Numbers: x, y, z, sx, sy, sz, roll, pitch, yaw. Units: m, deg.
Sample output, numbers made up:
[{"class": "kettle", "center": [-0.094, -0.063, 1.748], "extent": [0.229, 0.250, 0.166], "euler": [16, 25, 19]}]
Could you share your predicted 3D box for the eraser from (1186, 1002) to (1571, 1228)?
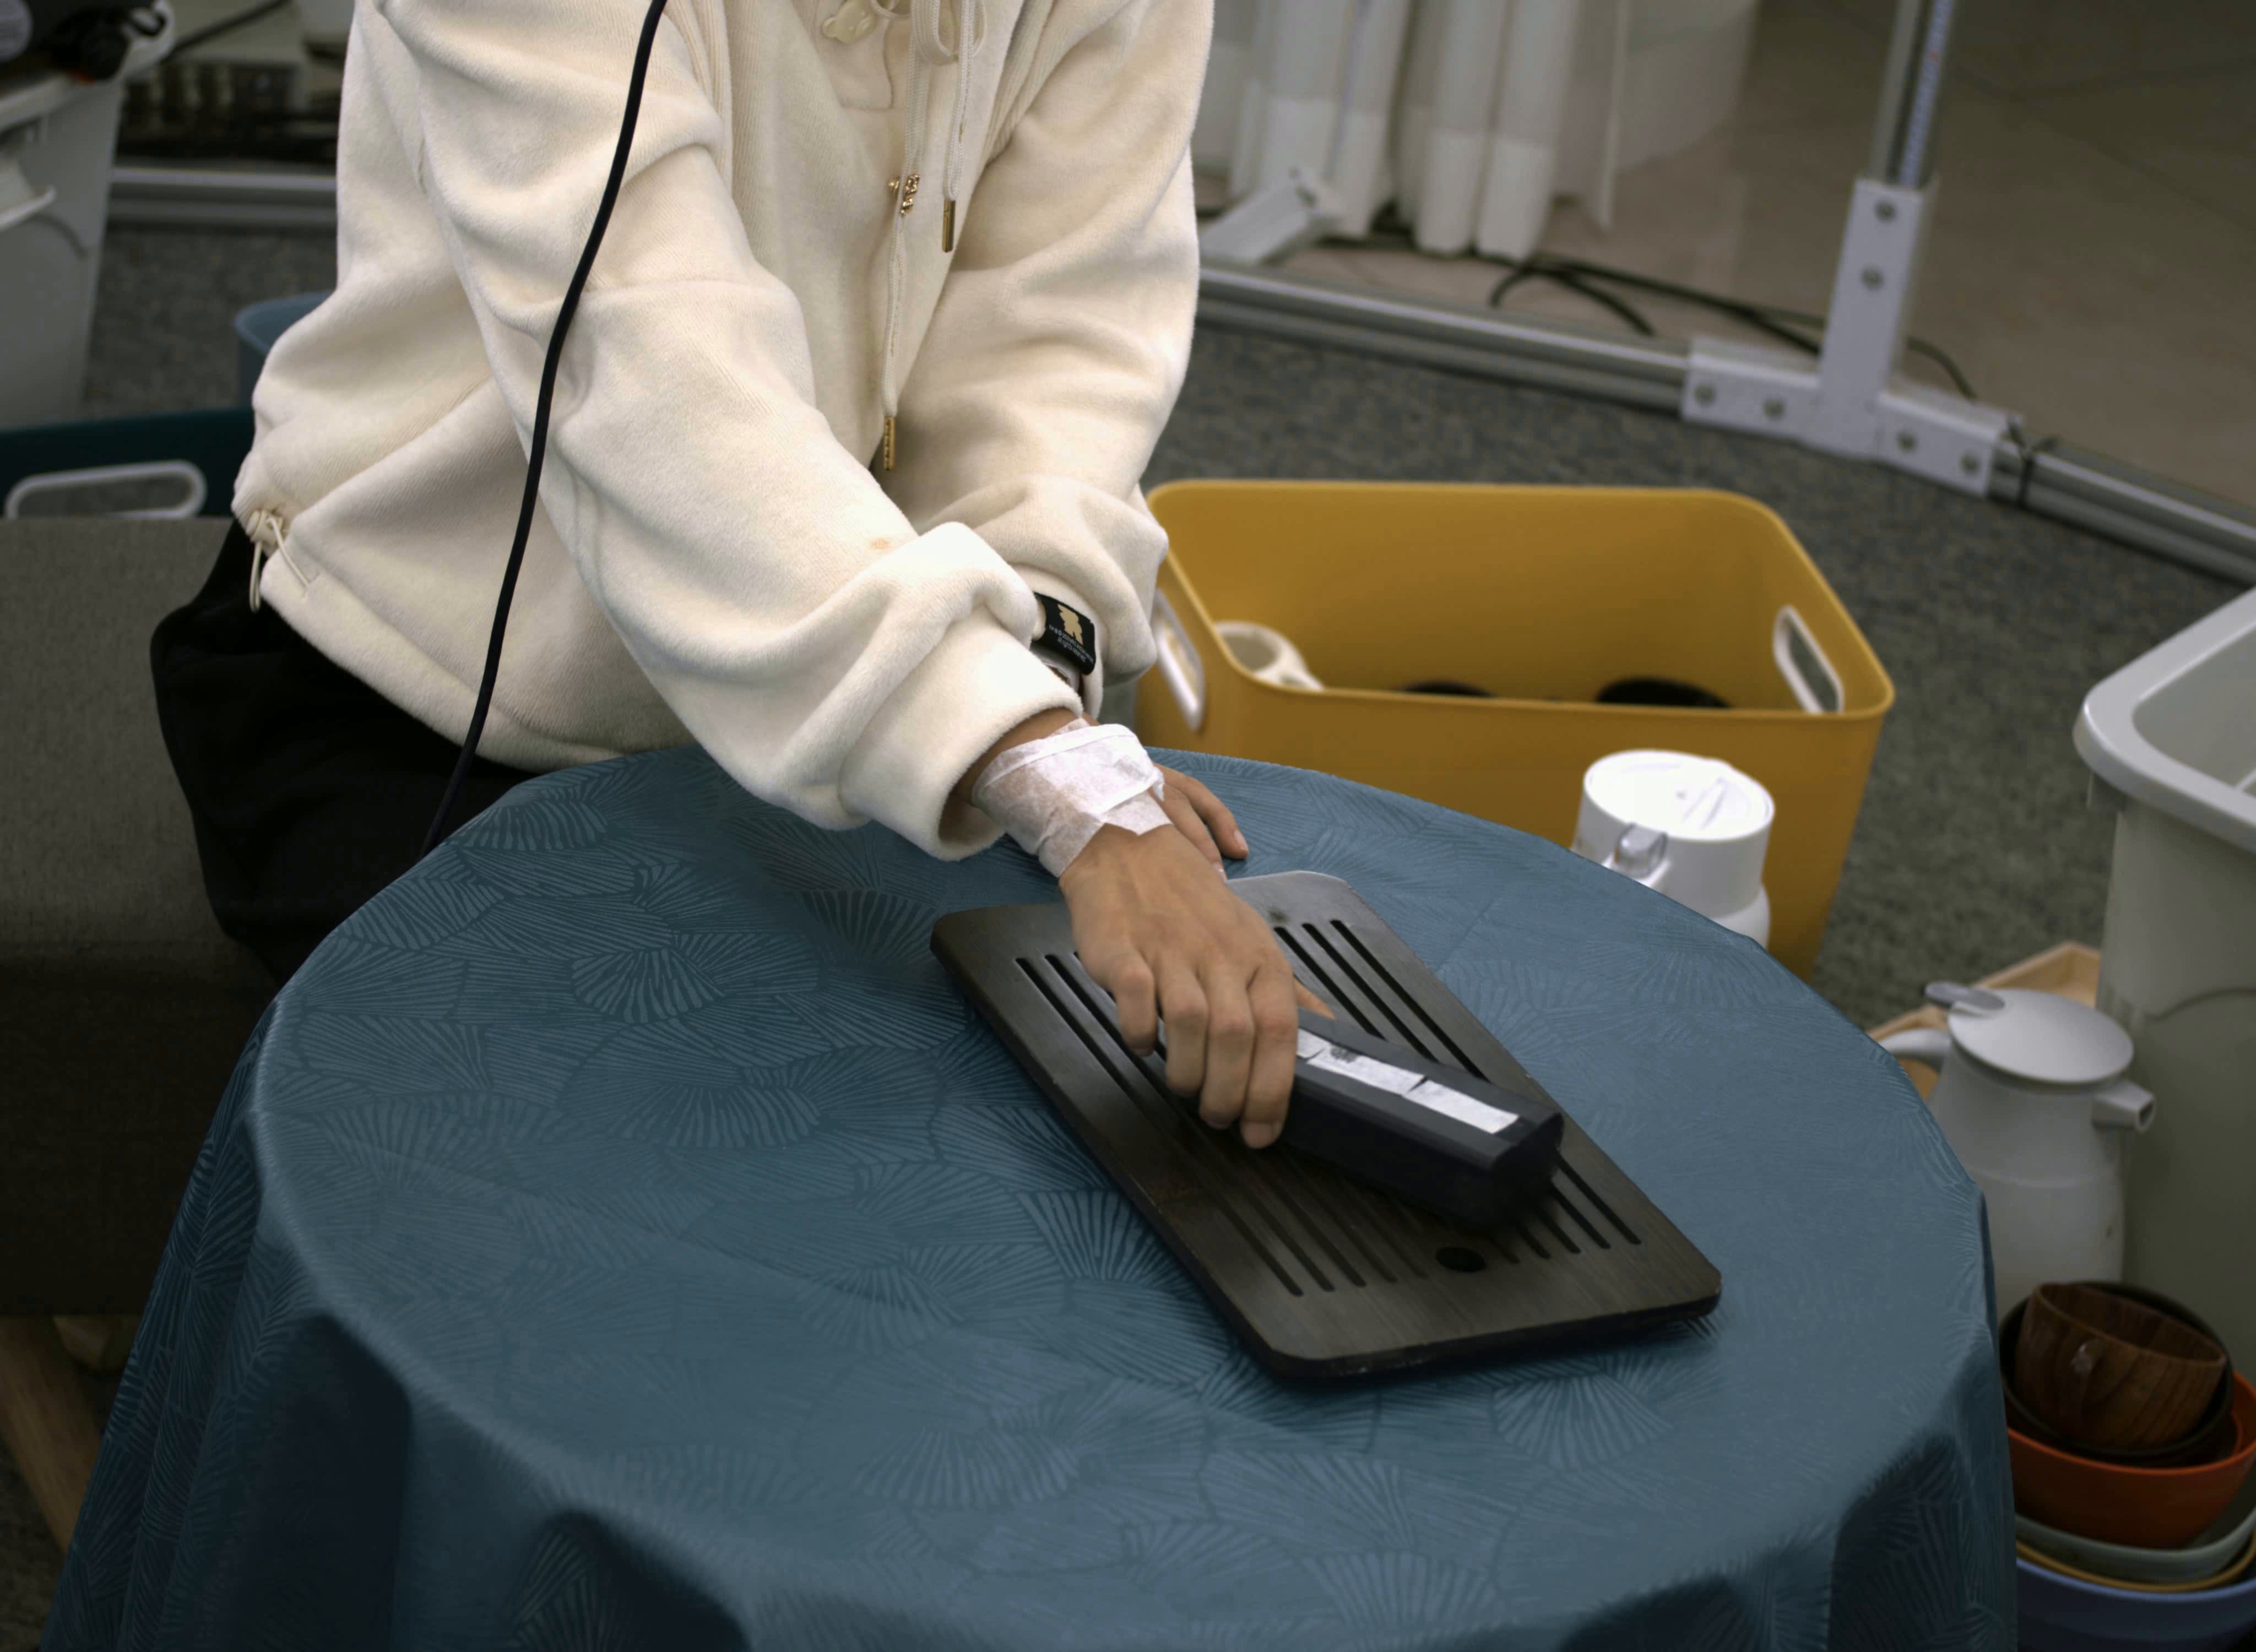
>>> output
[{"class": "eraser", "center": [0.085, 0.097, 1.807], "extent": [0.126, 0.030, 0.053], "euler": [20, 26, 27]}]

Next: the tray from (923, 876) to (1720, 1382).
[{"class": "tray", "center": [0.060, 0.101, 1.840], "extent": [0.169, 0.018, 0.309], "euler": [-6, 30, -24]}]
